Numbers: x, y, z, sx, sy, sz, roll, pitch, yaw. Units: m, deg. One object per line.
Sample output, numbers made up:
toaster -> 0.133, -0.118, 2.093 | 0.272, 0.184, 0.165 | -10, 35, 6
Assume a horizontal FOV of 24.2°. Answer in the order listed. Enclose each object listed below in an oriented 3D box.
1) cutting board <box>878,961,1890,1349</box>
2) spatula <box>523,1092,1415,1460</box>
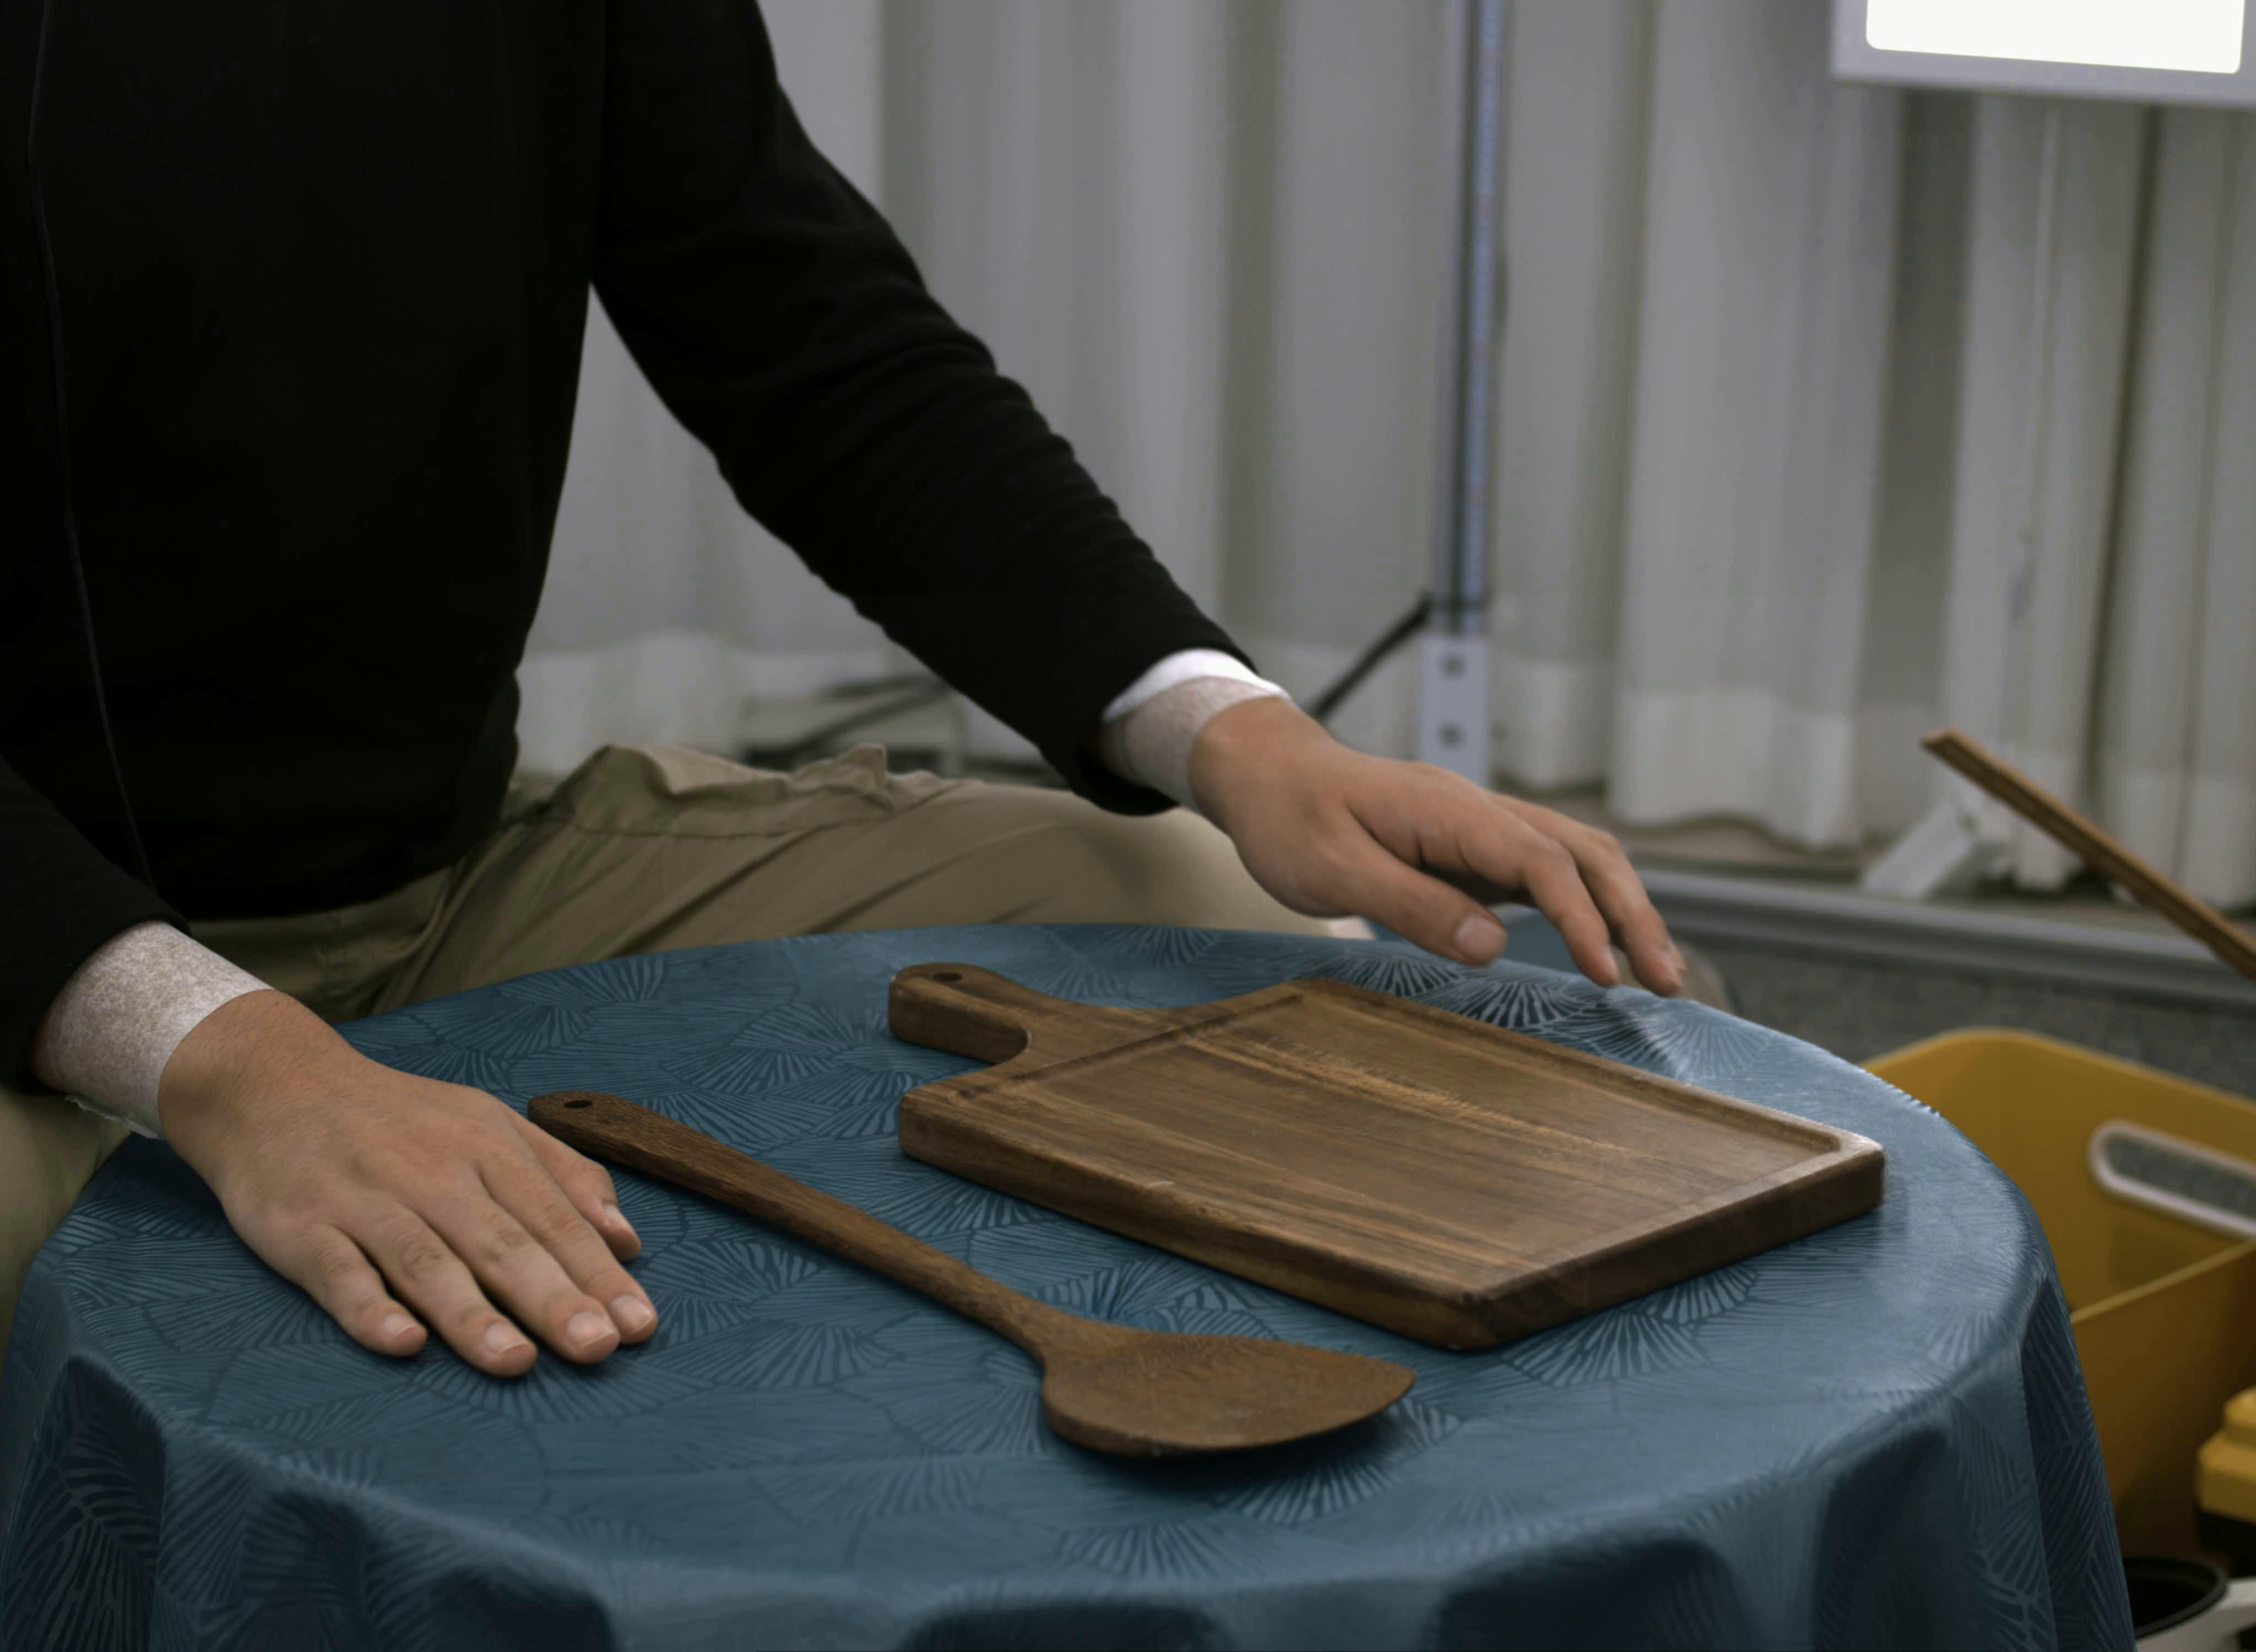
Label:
cutting board -> 0.046, 0.090, 1.665 | 0.202, 0.023, 0.347 | -14, 21, -43
spatula -> -0.069, 0.126, 1.542 | 0.096, 0.016, 0.381 | -11, 19, -38
